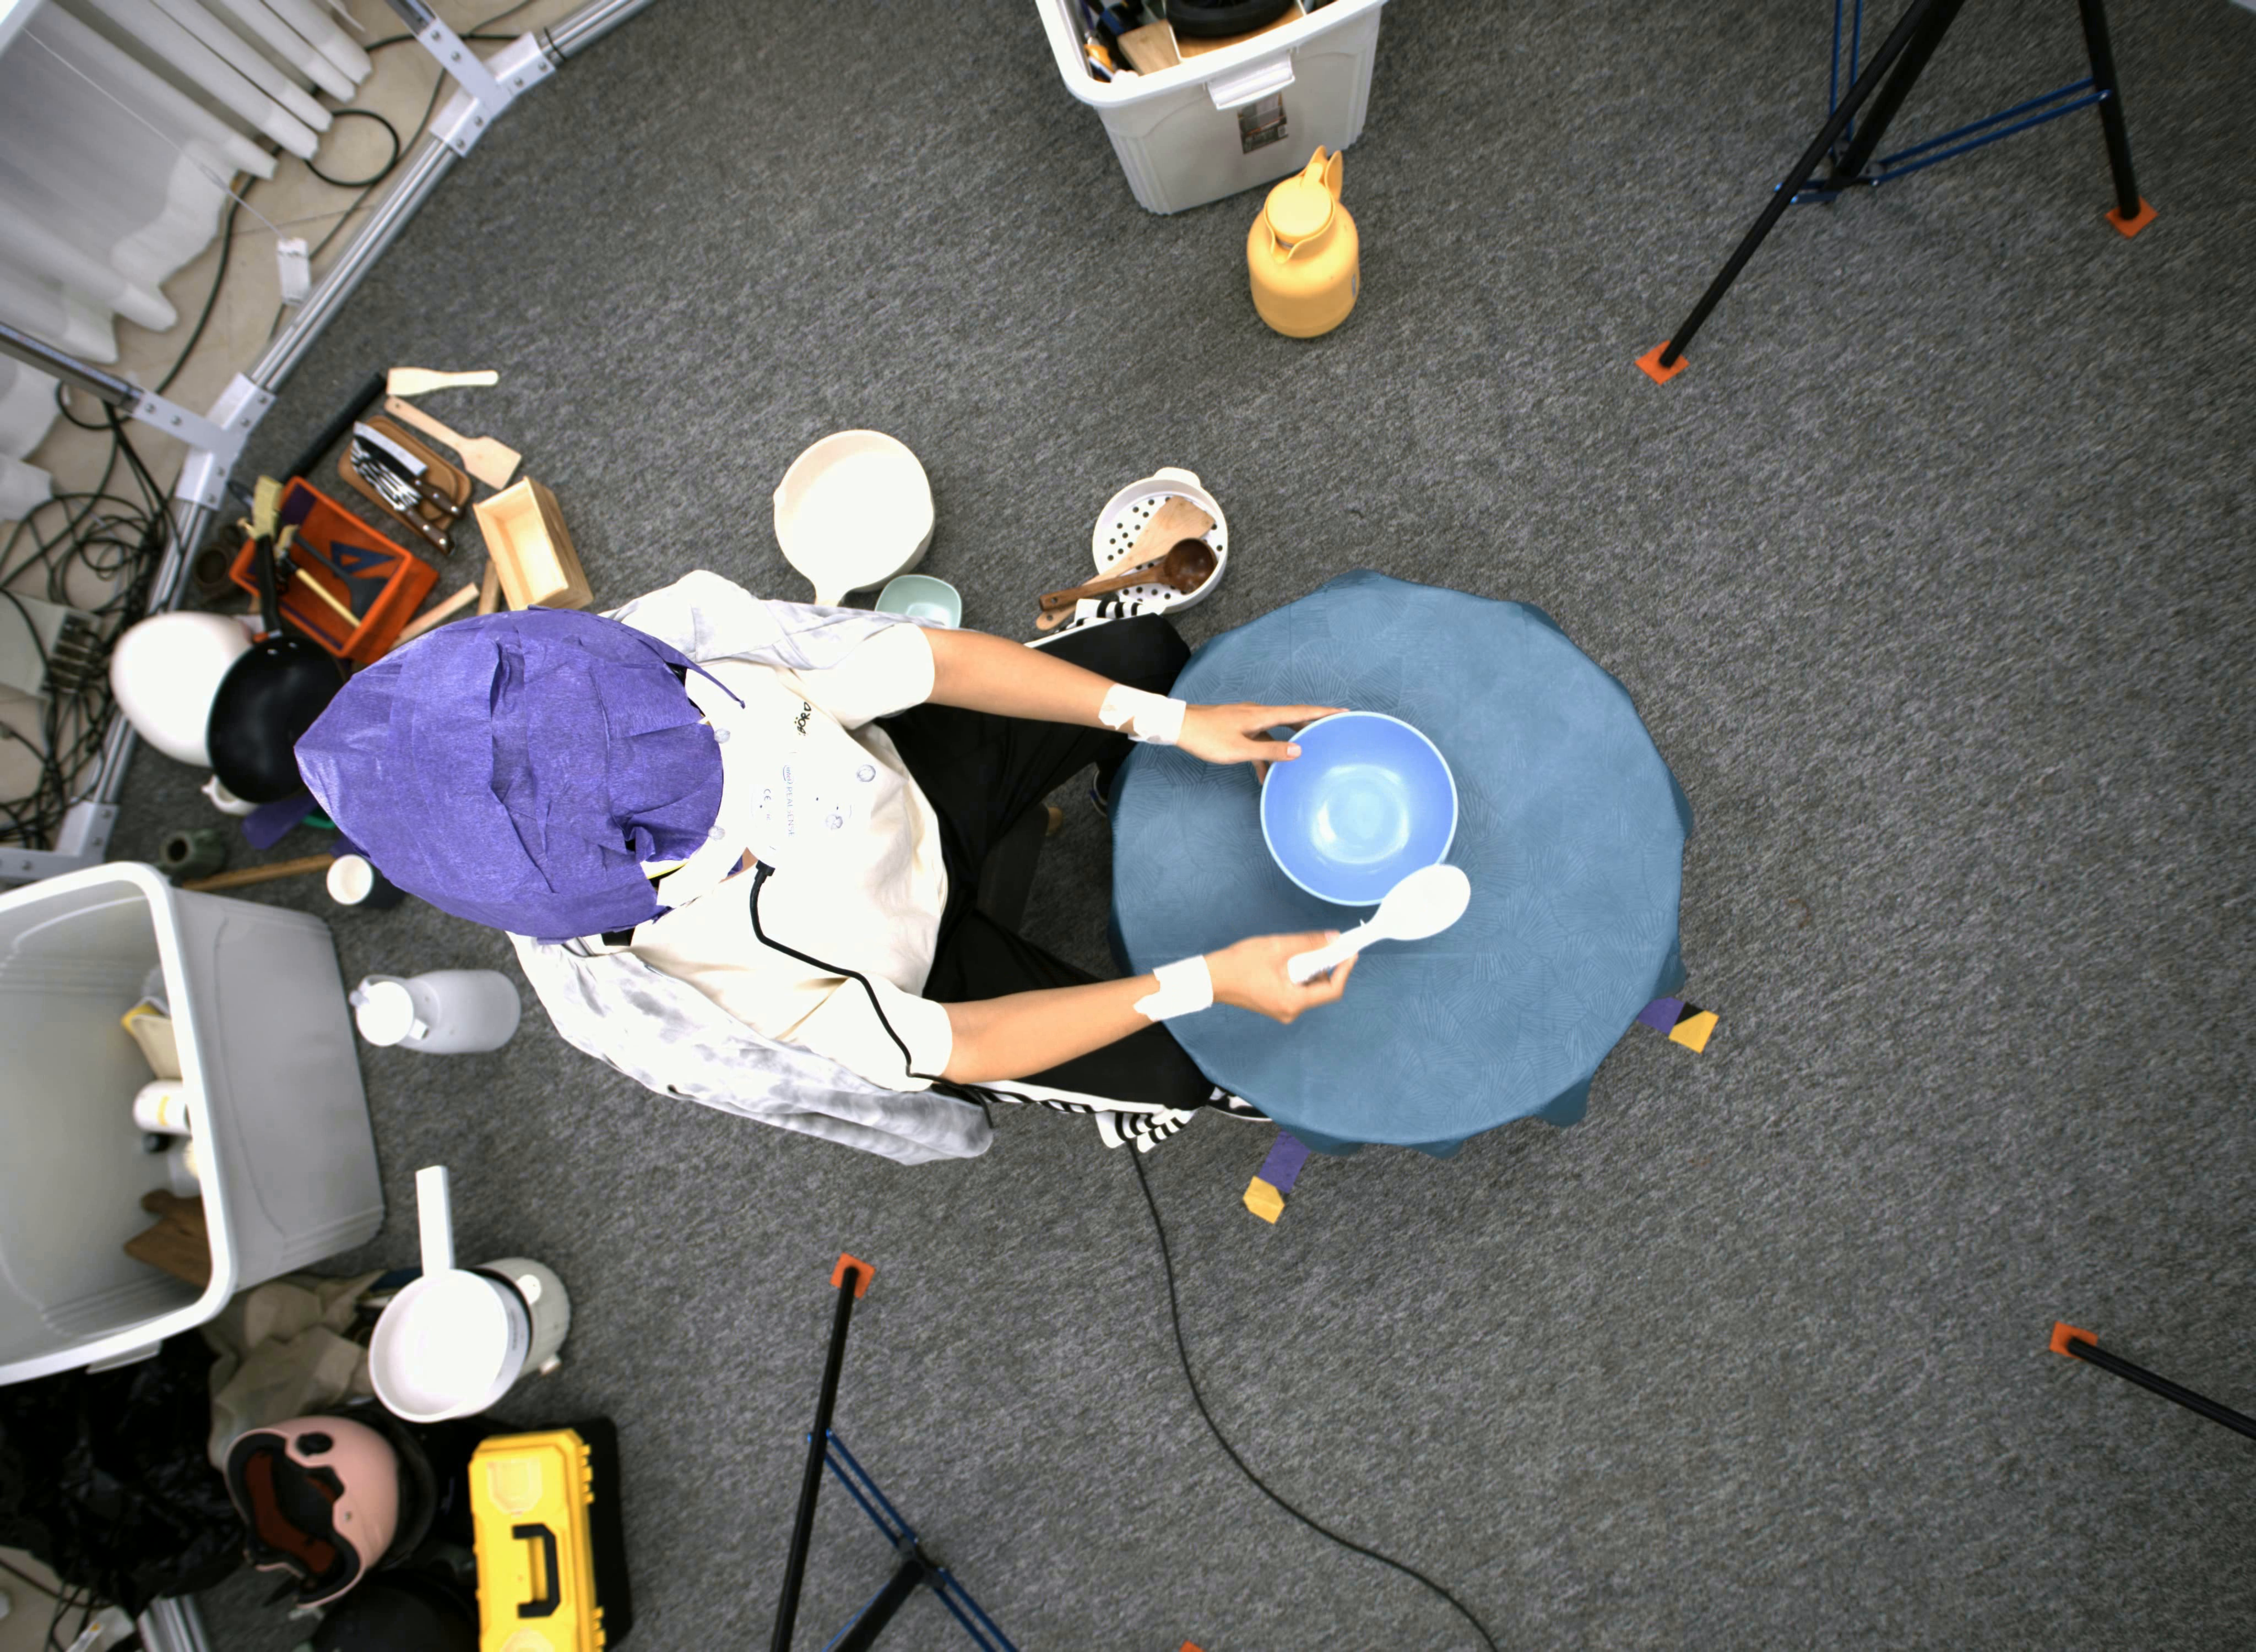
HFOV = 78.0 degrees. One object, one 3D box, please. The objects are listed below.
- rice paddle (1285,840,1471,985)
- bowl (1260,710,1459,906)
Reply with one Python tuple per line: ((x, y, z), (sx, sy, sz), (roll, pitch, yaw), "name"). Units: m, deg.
((0.243, 0.083, 1.337), (0.207, 0.029, 0.069), (-36, 105, 12), "rice paddle")
((0.236, -0.015, 1.420), (0.197, 0.095, 0.196), (-1, 87, 9), "bowl")
